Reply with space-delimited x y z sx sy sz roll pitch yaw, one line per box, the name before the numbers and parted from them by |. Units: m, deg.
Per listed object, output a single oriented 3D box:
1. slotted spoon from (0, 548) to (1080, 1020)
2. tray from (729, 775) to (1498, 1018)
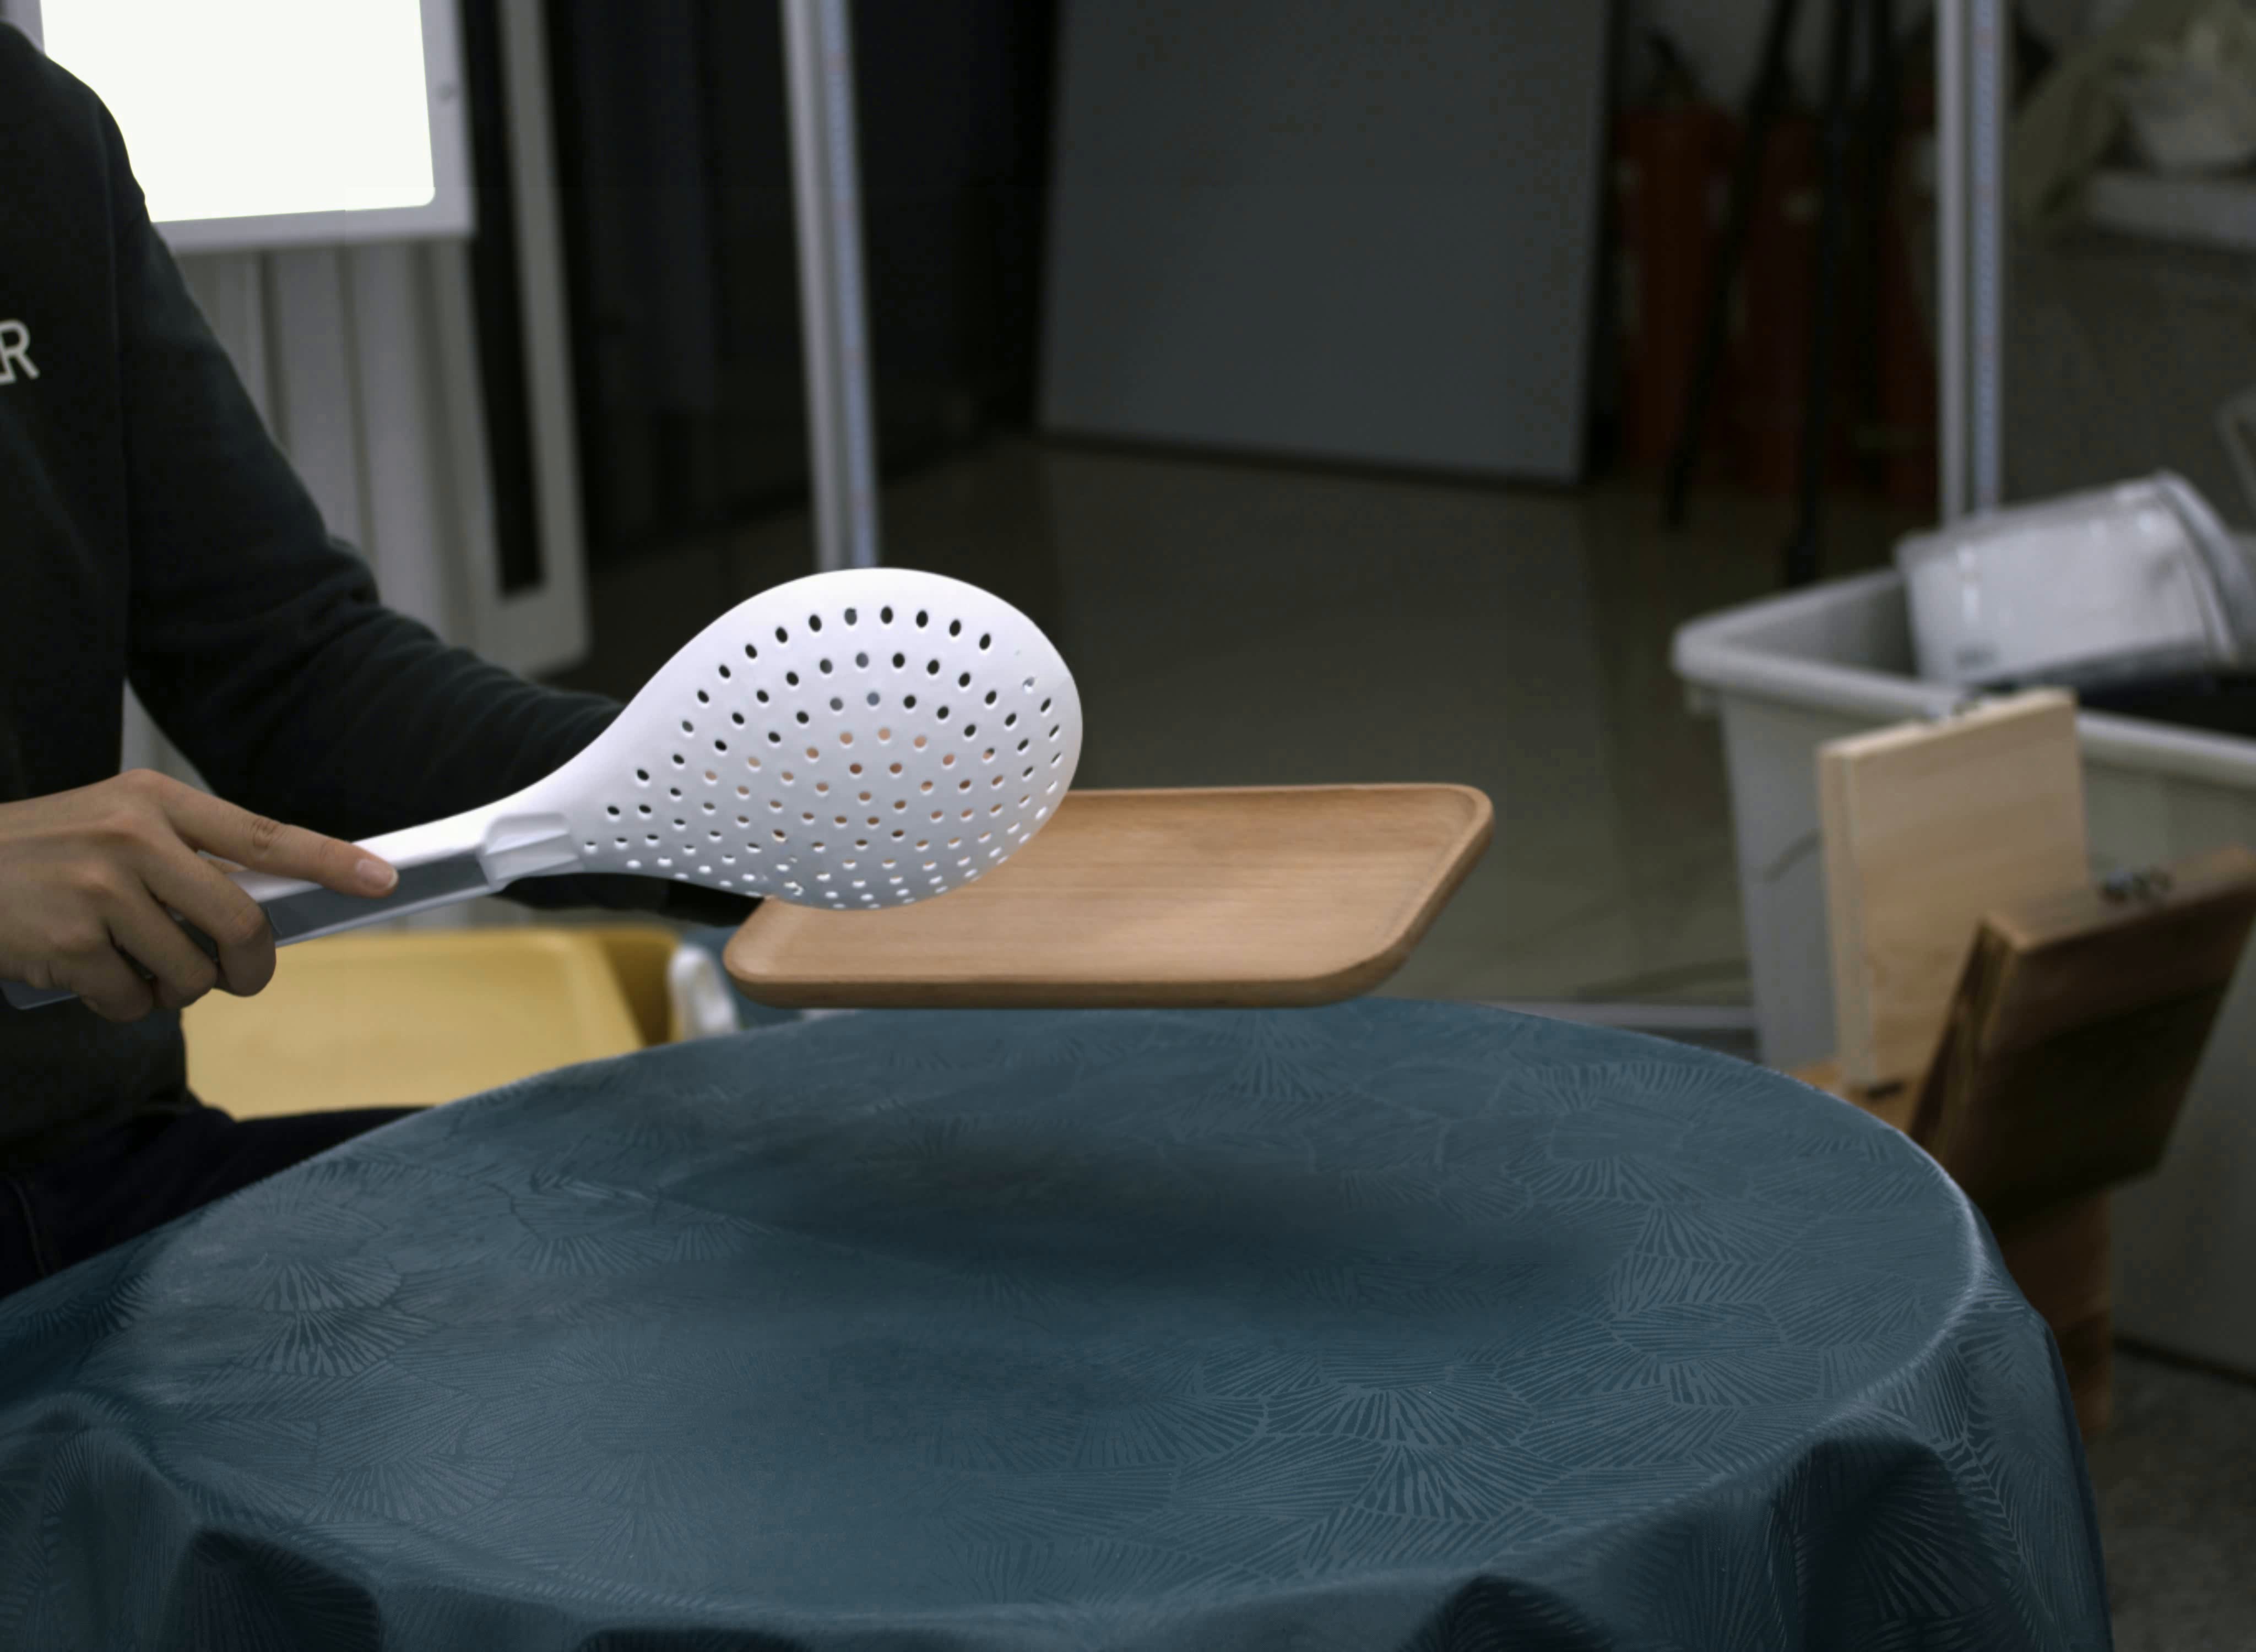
slotted spoon | -0.183 0.003 1.669 0.347 0.136 0.046 -12 39 10
tray | -0.005 0.024 1.755 0.252 0.023 0.129 -2 27 31
